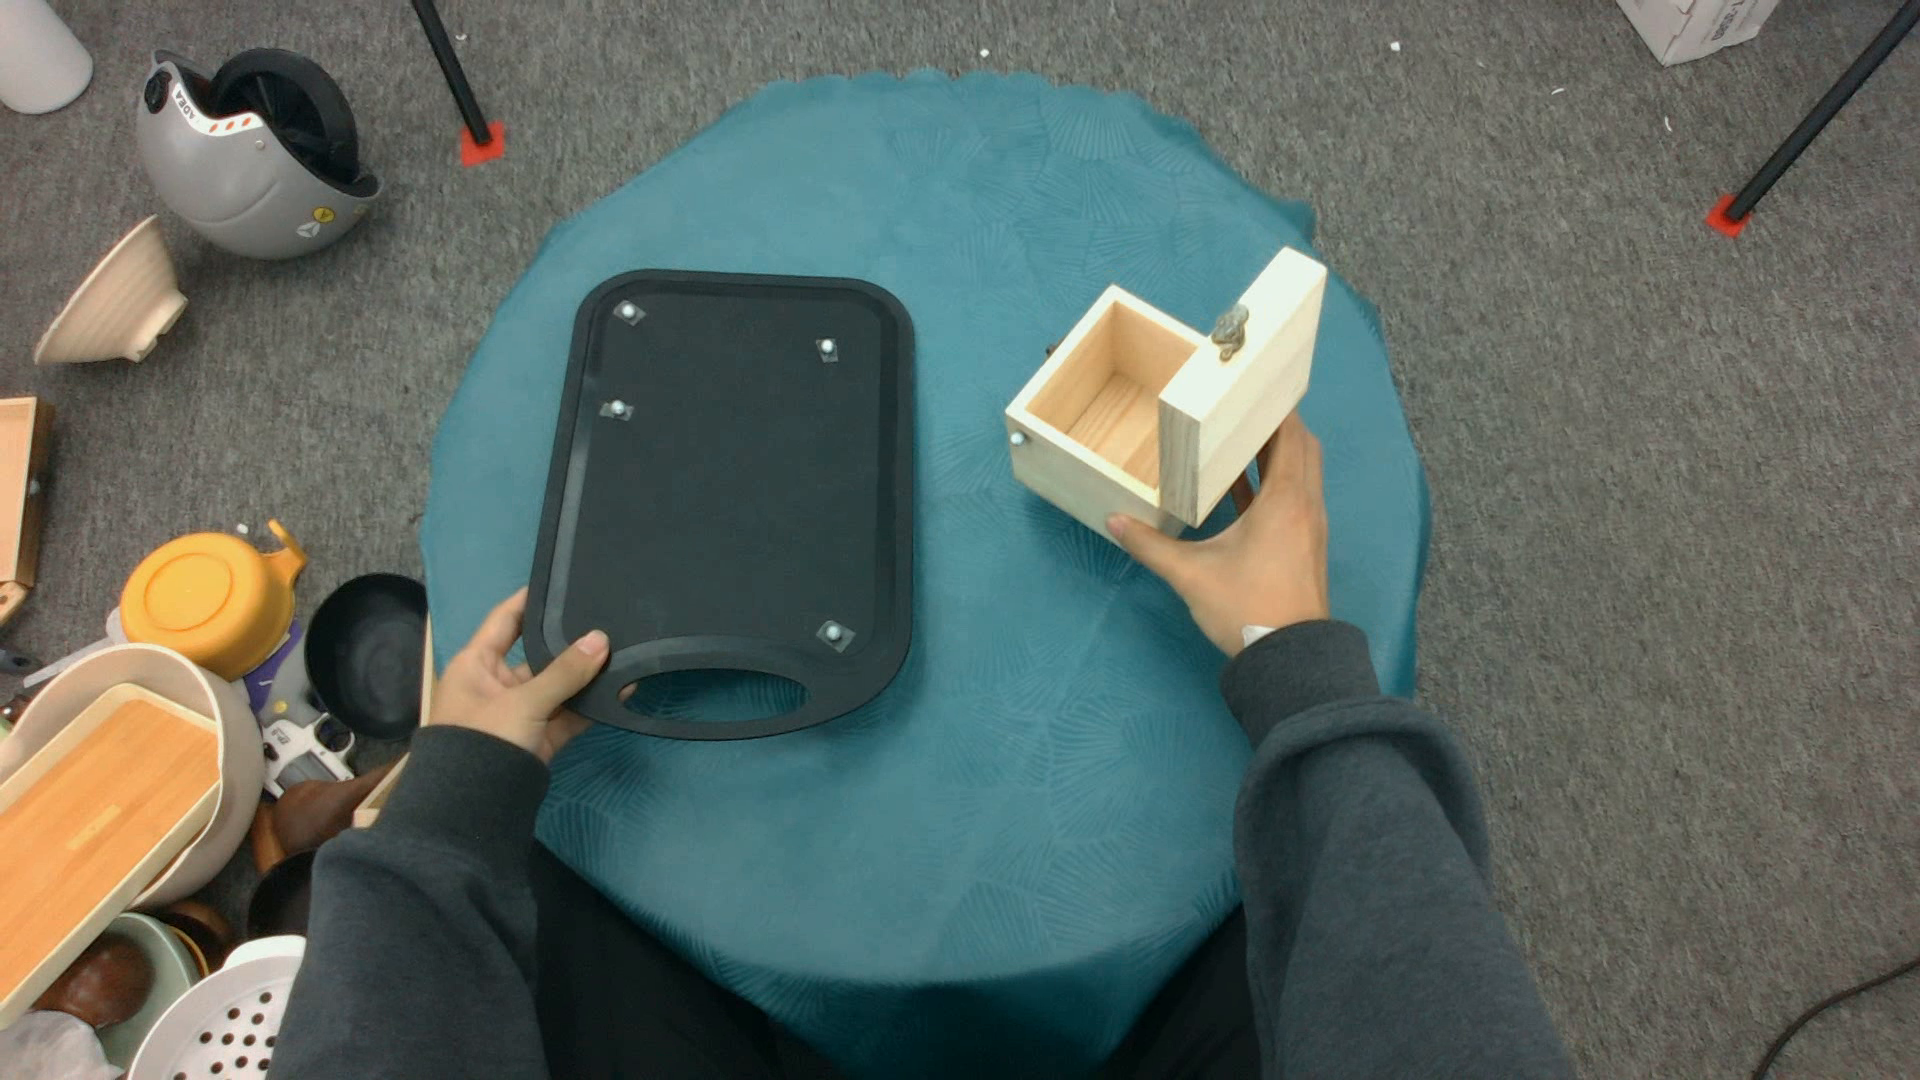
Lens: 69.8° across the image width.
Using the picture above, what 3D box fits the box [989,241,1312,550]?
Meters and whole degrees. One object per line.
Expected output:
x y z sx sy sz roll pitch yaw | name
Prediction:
0.092 -0.089 0.727 0.134 0.184 0.103 33 72 18 | box

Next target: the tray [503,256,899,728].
-0.141 -0.042 0.797 0.211 0.010 0.327 2 58 -5 | tray
